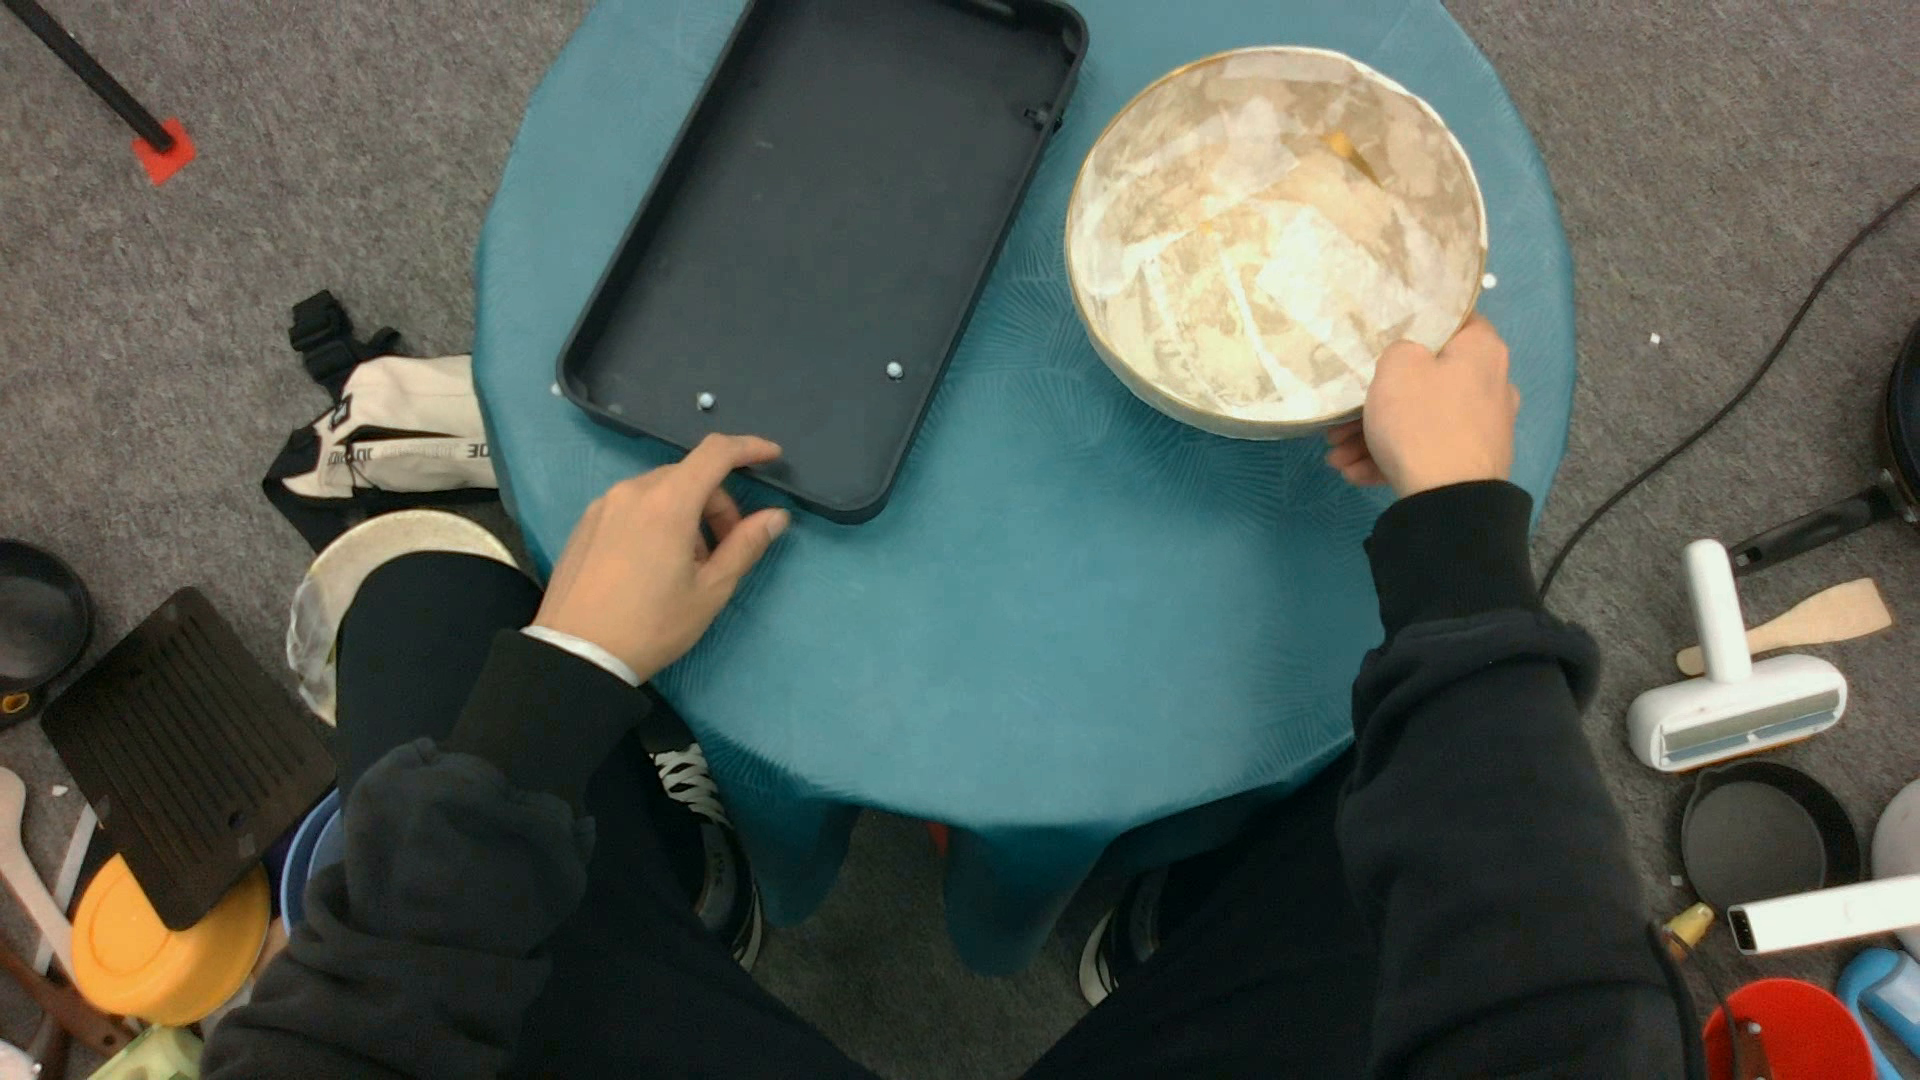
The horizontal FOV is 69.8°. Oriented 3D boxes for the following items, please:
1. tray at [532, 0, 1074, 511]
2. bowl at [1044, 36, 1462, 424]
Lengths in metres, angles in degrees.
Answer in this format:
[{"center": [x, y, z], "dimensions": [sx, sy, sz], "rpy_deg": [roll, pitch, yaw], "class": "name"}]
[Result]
[{"center": [-0.078, -0.183, 0.747], "dimensions": [0.184, 0.037, 0.319], "rpy_deg": [23, 73, 6], "class": "tray"}, {"center": [0.141, -0.145, 0.711], "dimensions": [0.214, 0.094, 0.215], "rpy_deg": [0, 76, 2], "class": "bowl"}]
